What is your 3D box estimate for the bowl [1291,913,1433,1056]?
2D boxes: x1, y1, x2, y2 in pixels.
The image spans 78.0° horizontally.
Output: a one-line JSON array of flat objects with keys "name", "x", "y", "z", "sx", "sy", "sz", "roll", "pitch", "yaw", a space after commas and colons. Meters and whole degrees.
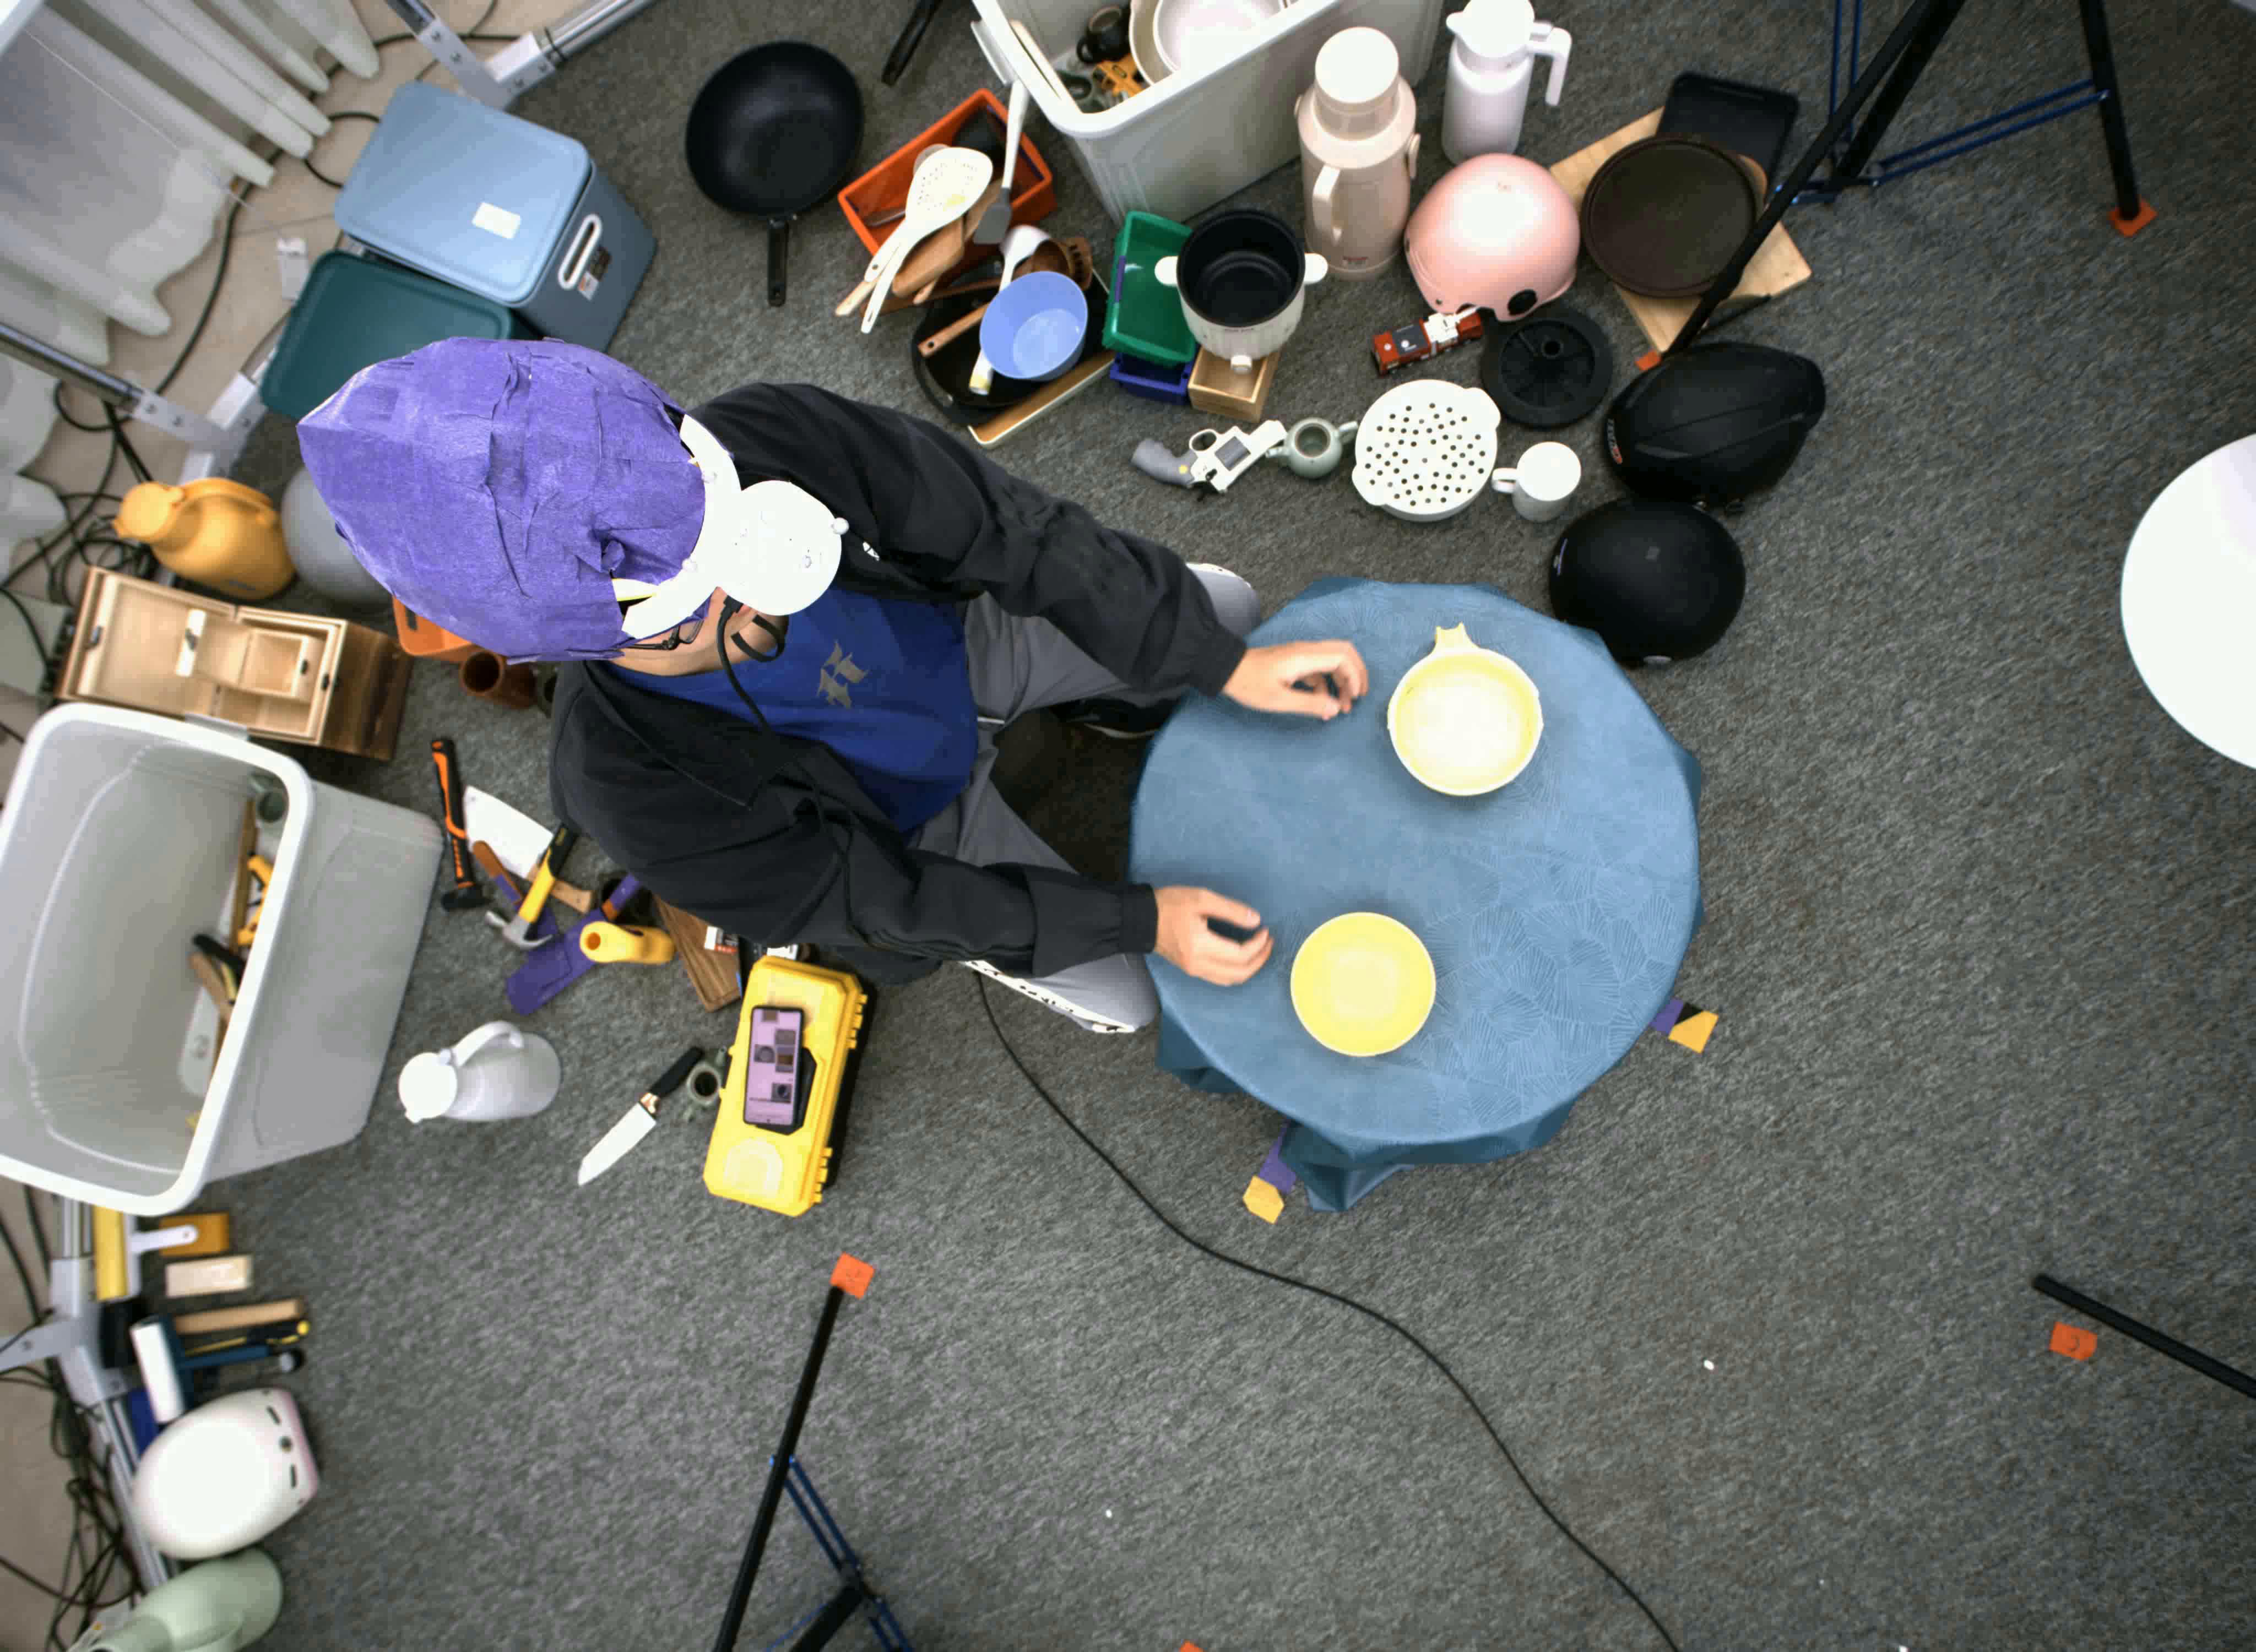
[{"name": "bowl", "x": 0.240, "y": 0.163, "z": 1.429, "sx": 0.146, "sy": 0.060, "sz": 0.144, "roll": -1, "pitch": 84, "yaw": 9}]

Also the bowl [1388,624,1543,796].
[{"name": "bowl", "x": 0.346, "y": -0.119, "z": 1.419, "sx": 0.154, "sy": 0.074, "sz": 0.178, "roll": -12, "pitch": 86, "yaw": 12}]
